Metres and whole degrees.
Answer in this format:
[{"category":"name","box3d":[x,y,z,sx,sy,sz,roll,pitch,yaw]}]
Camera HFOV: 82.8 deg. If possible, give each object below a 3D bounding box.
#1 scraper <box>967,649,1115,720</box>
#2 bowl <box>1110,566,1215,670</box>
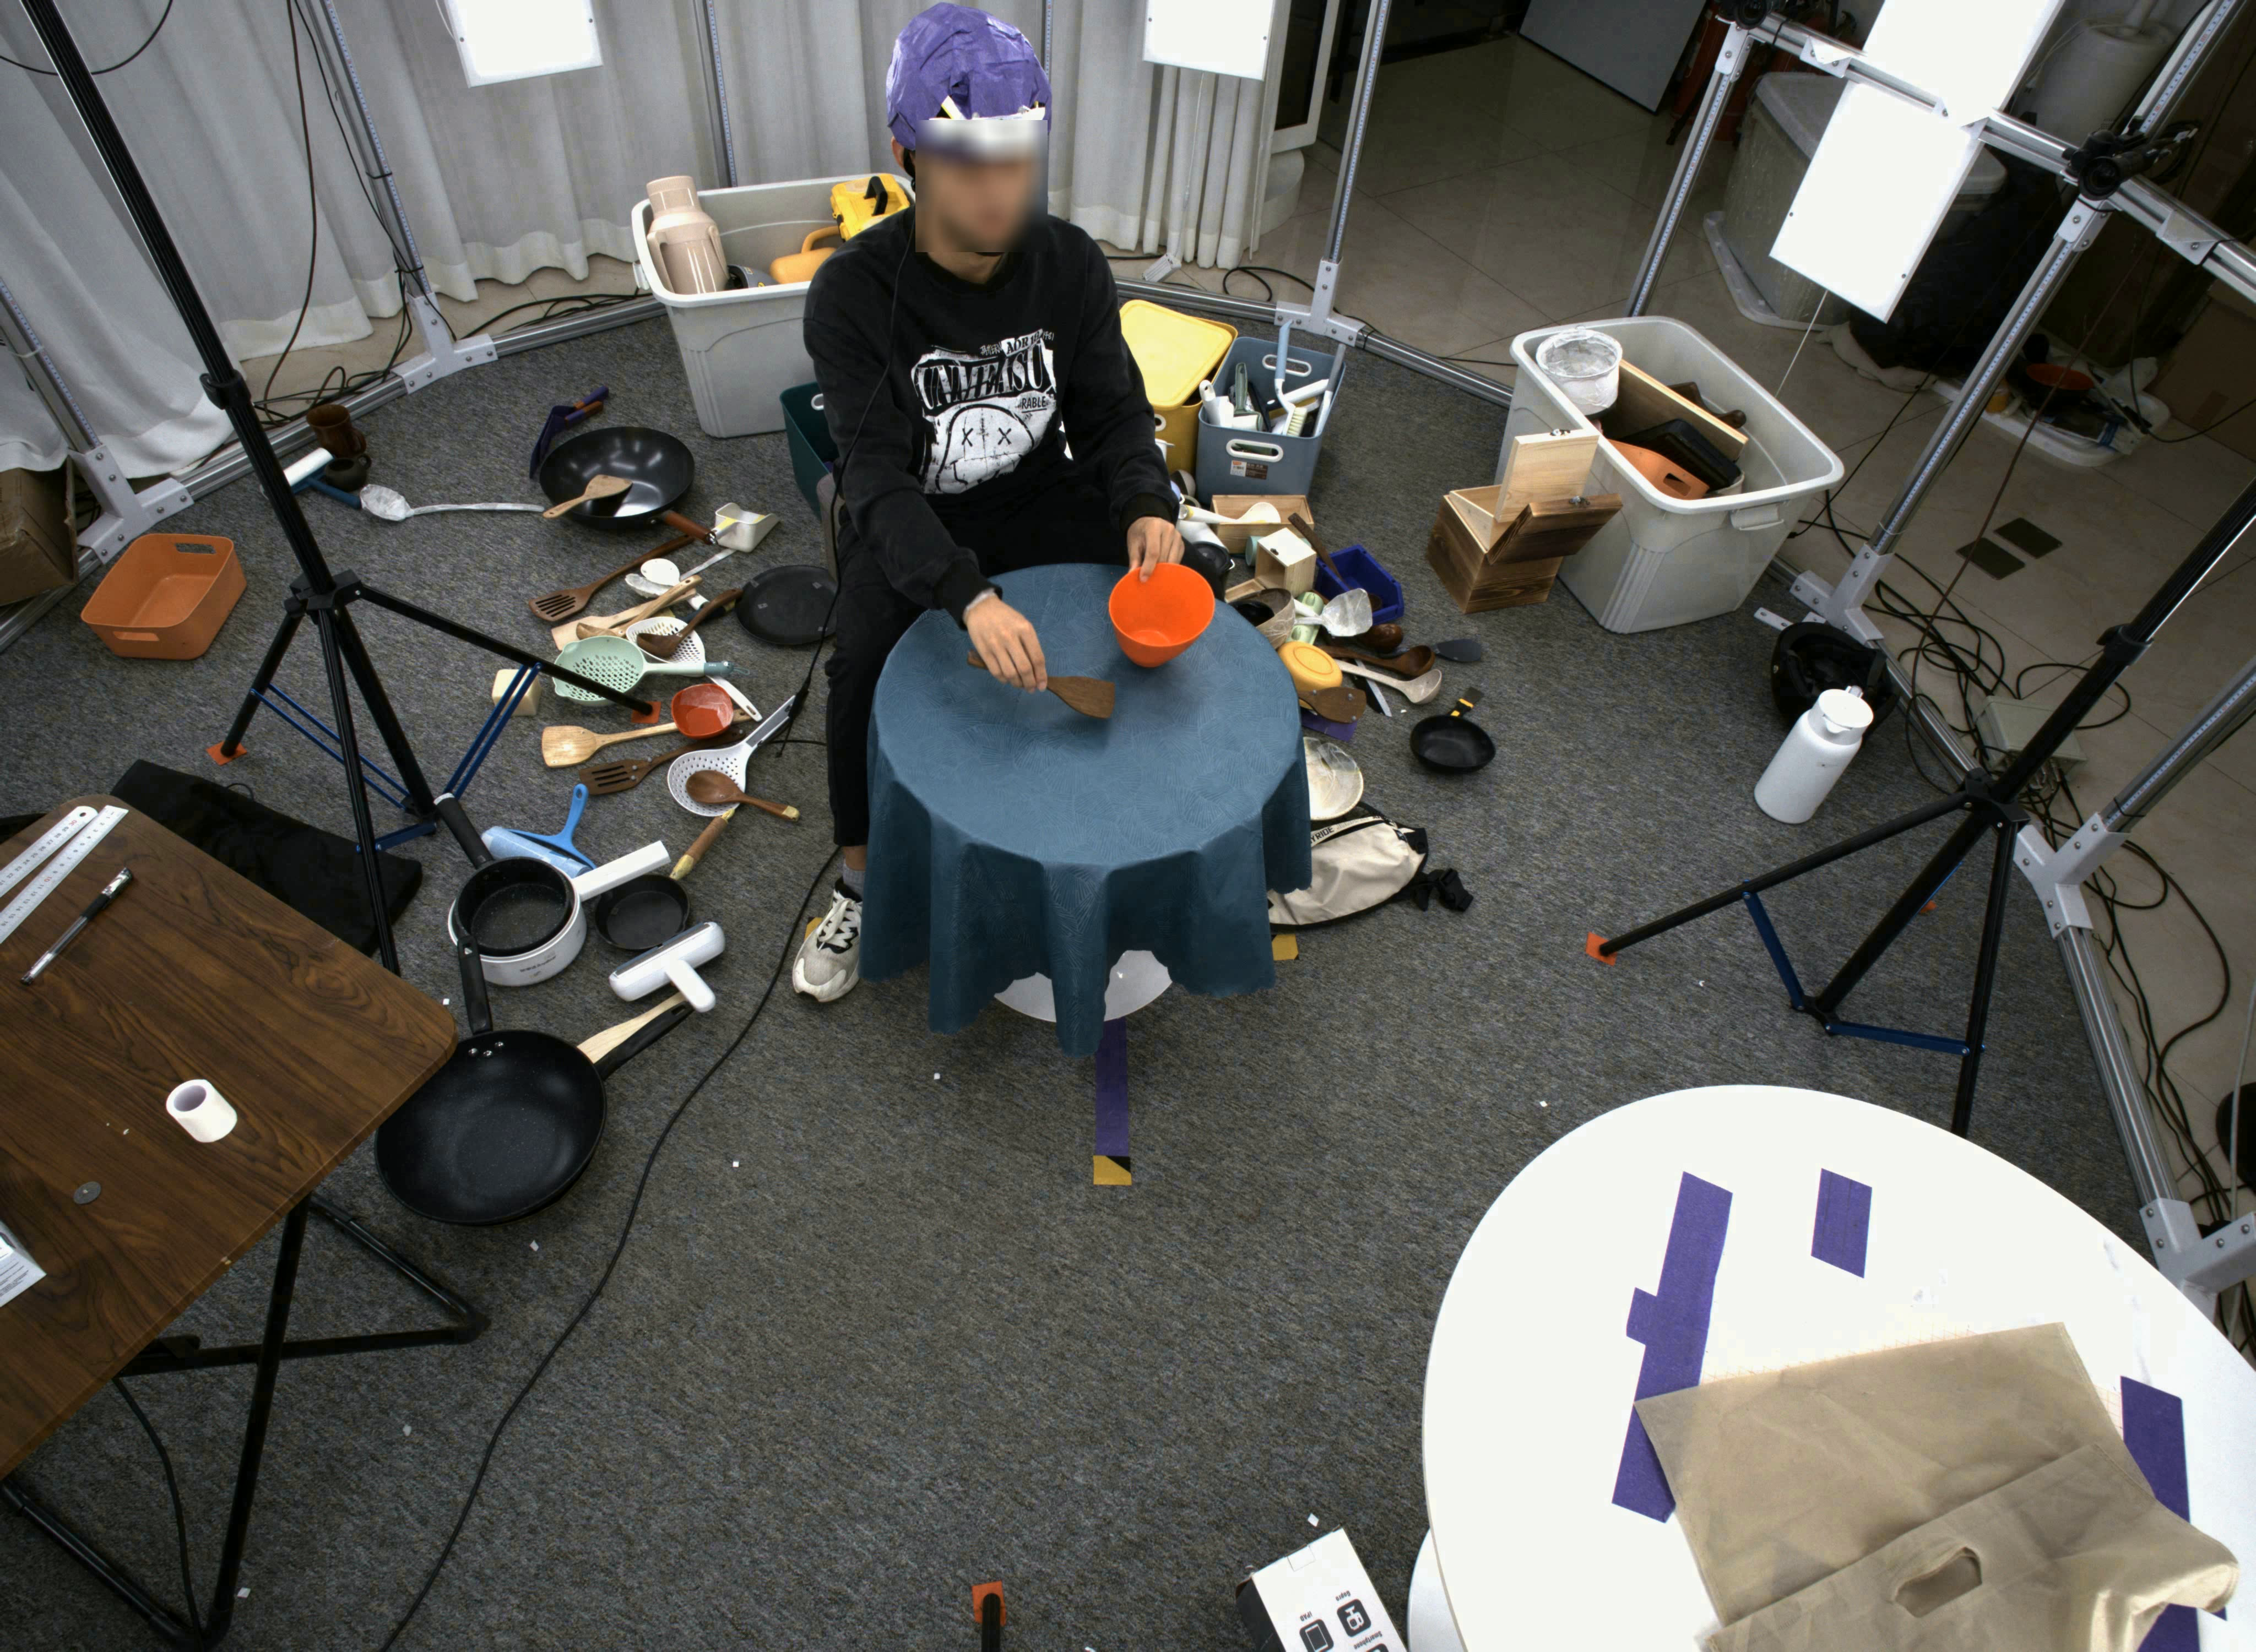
[{"category":"scraper","box3d":[-0.119,-0.201,1.765,0.210,0.010,0.077,18,46,-10]},{"category":"bowl","box3d":[0.045,-0.288,1.849,0.148,0.102,0.151,3,54,-5]}]
